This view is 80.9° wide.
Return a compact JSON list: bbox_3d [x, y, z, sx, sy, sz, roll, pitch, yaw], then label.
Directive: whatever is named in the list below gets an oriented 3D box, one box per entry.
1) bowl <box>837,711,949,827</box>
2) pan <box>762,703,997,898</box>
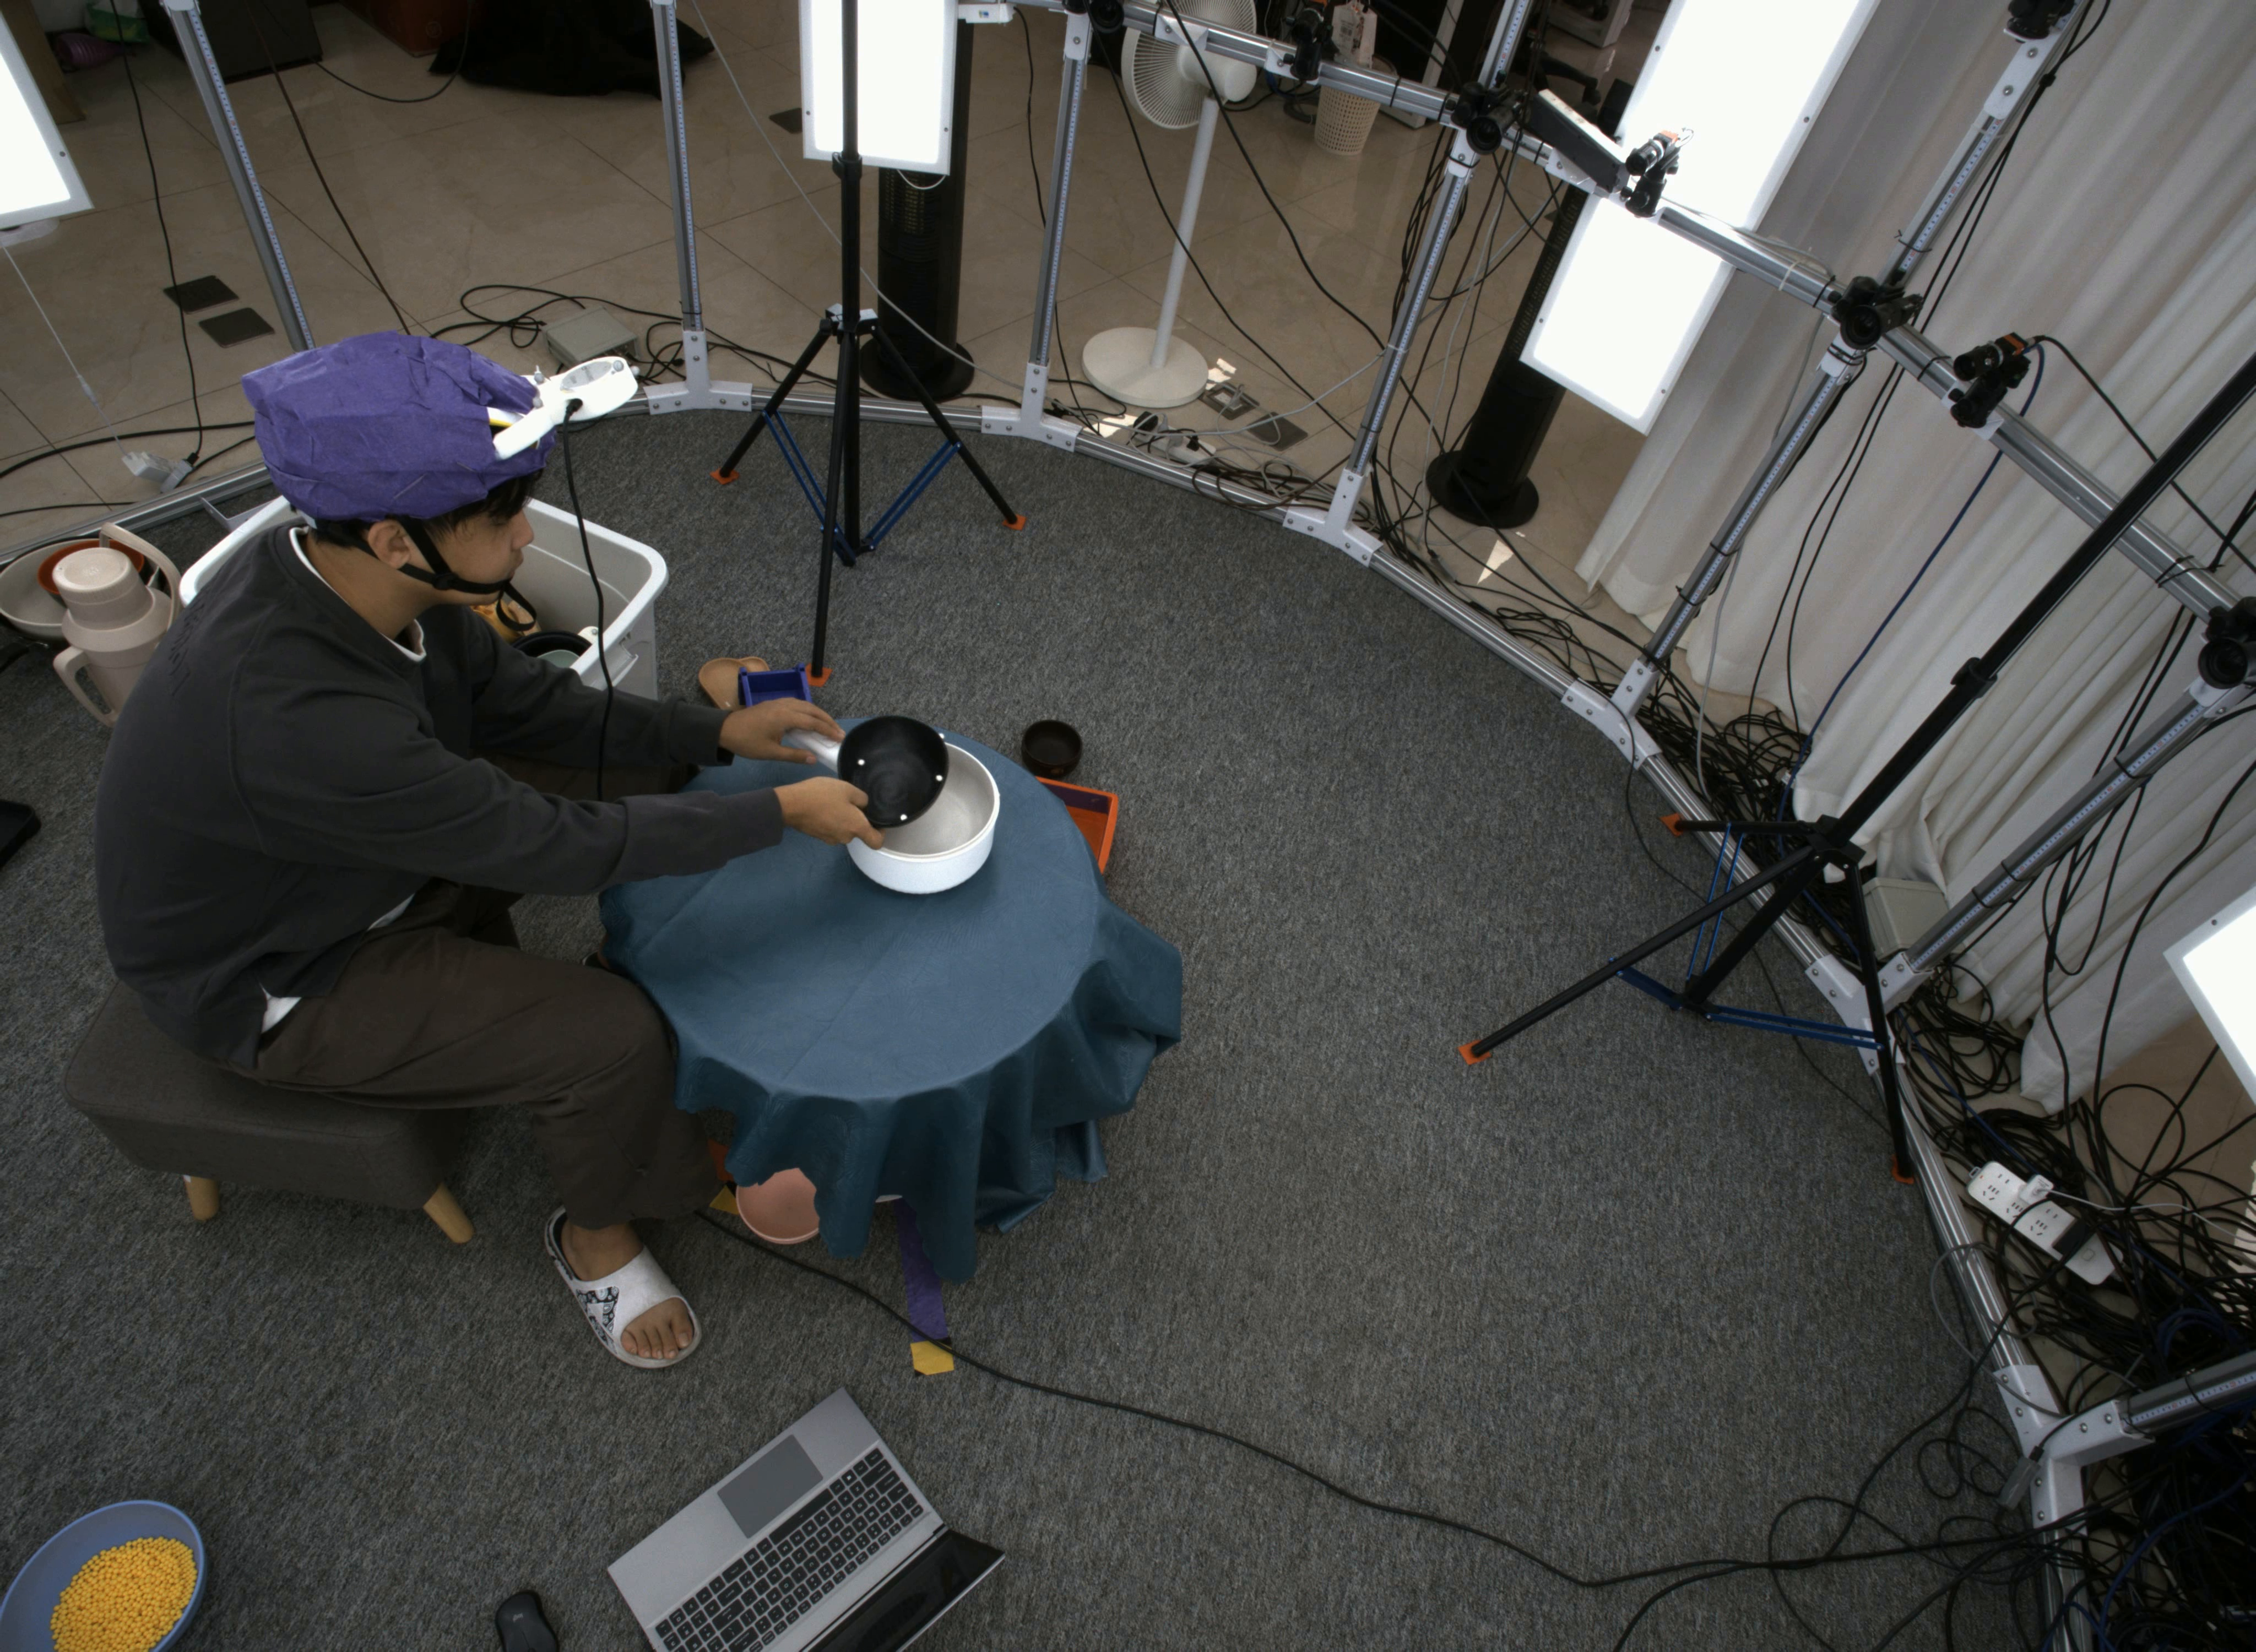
[{"bbox_3d":[-0.294,-0.062,1.627,0.137,0.068,0.167,5,55,-8],"label":"bowl"},{"bbox_3d":[-0.336,-0.042,1.720,0.347,0.104,0.201,30,56,13],"label":"pan"}]
